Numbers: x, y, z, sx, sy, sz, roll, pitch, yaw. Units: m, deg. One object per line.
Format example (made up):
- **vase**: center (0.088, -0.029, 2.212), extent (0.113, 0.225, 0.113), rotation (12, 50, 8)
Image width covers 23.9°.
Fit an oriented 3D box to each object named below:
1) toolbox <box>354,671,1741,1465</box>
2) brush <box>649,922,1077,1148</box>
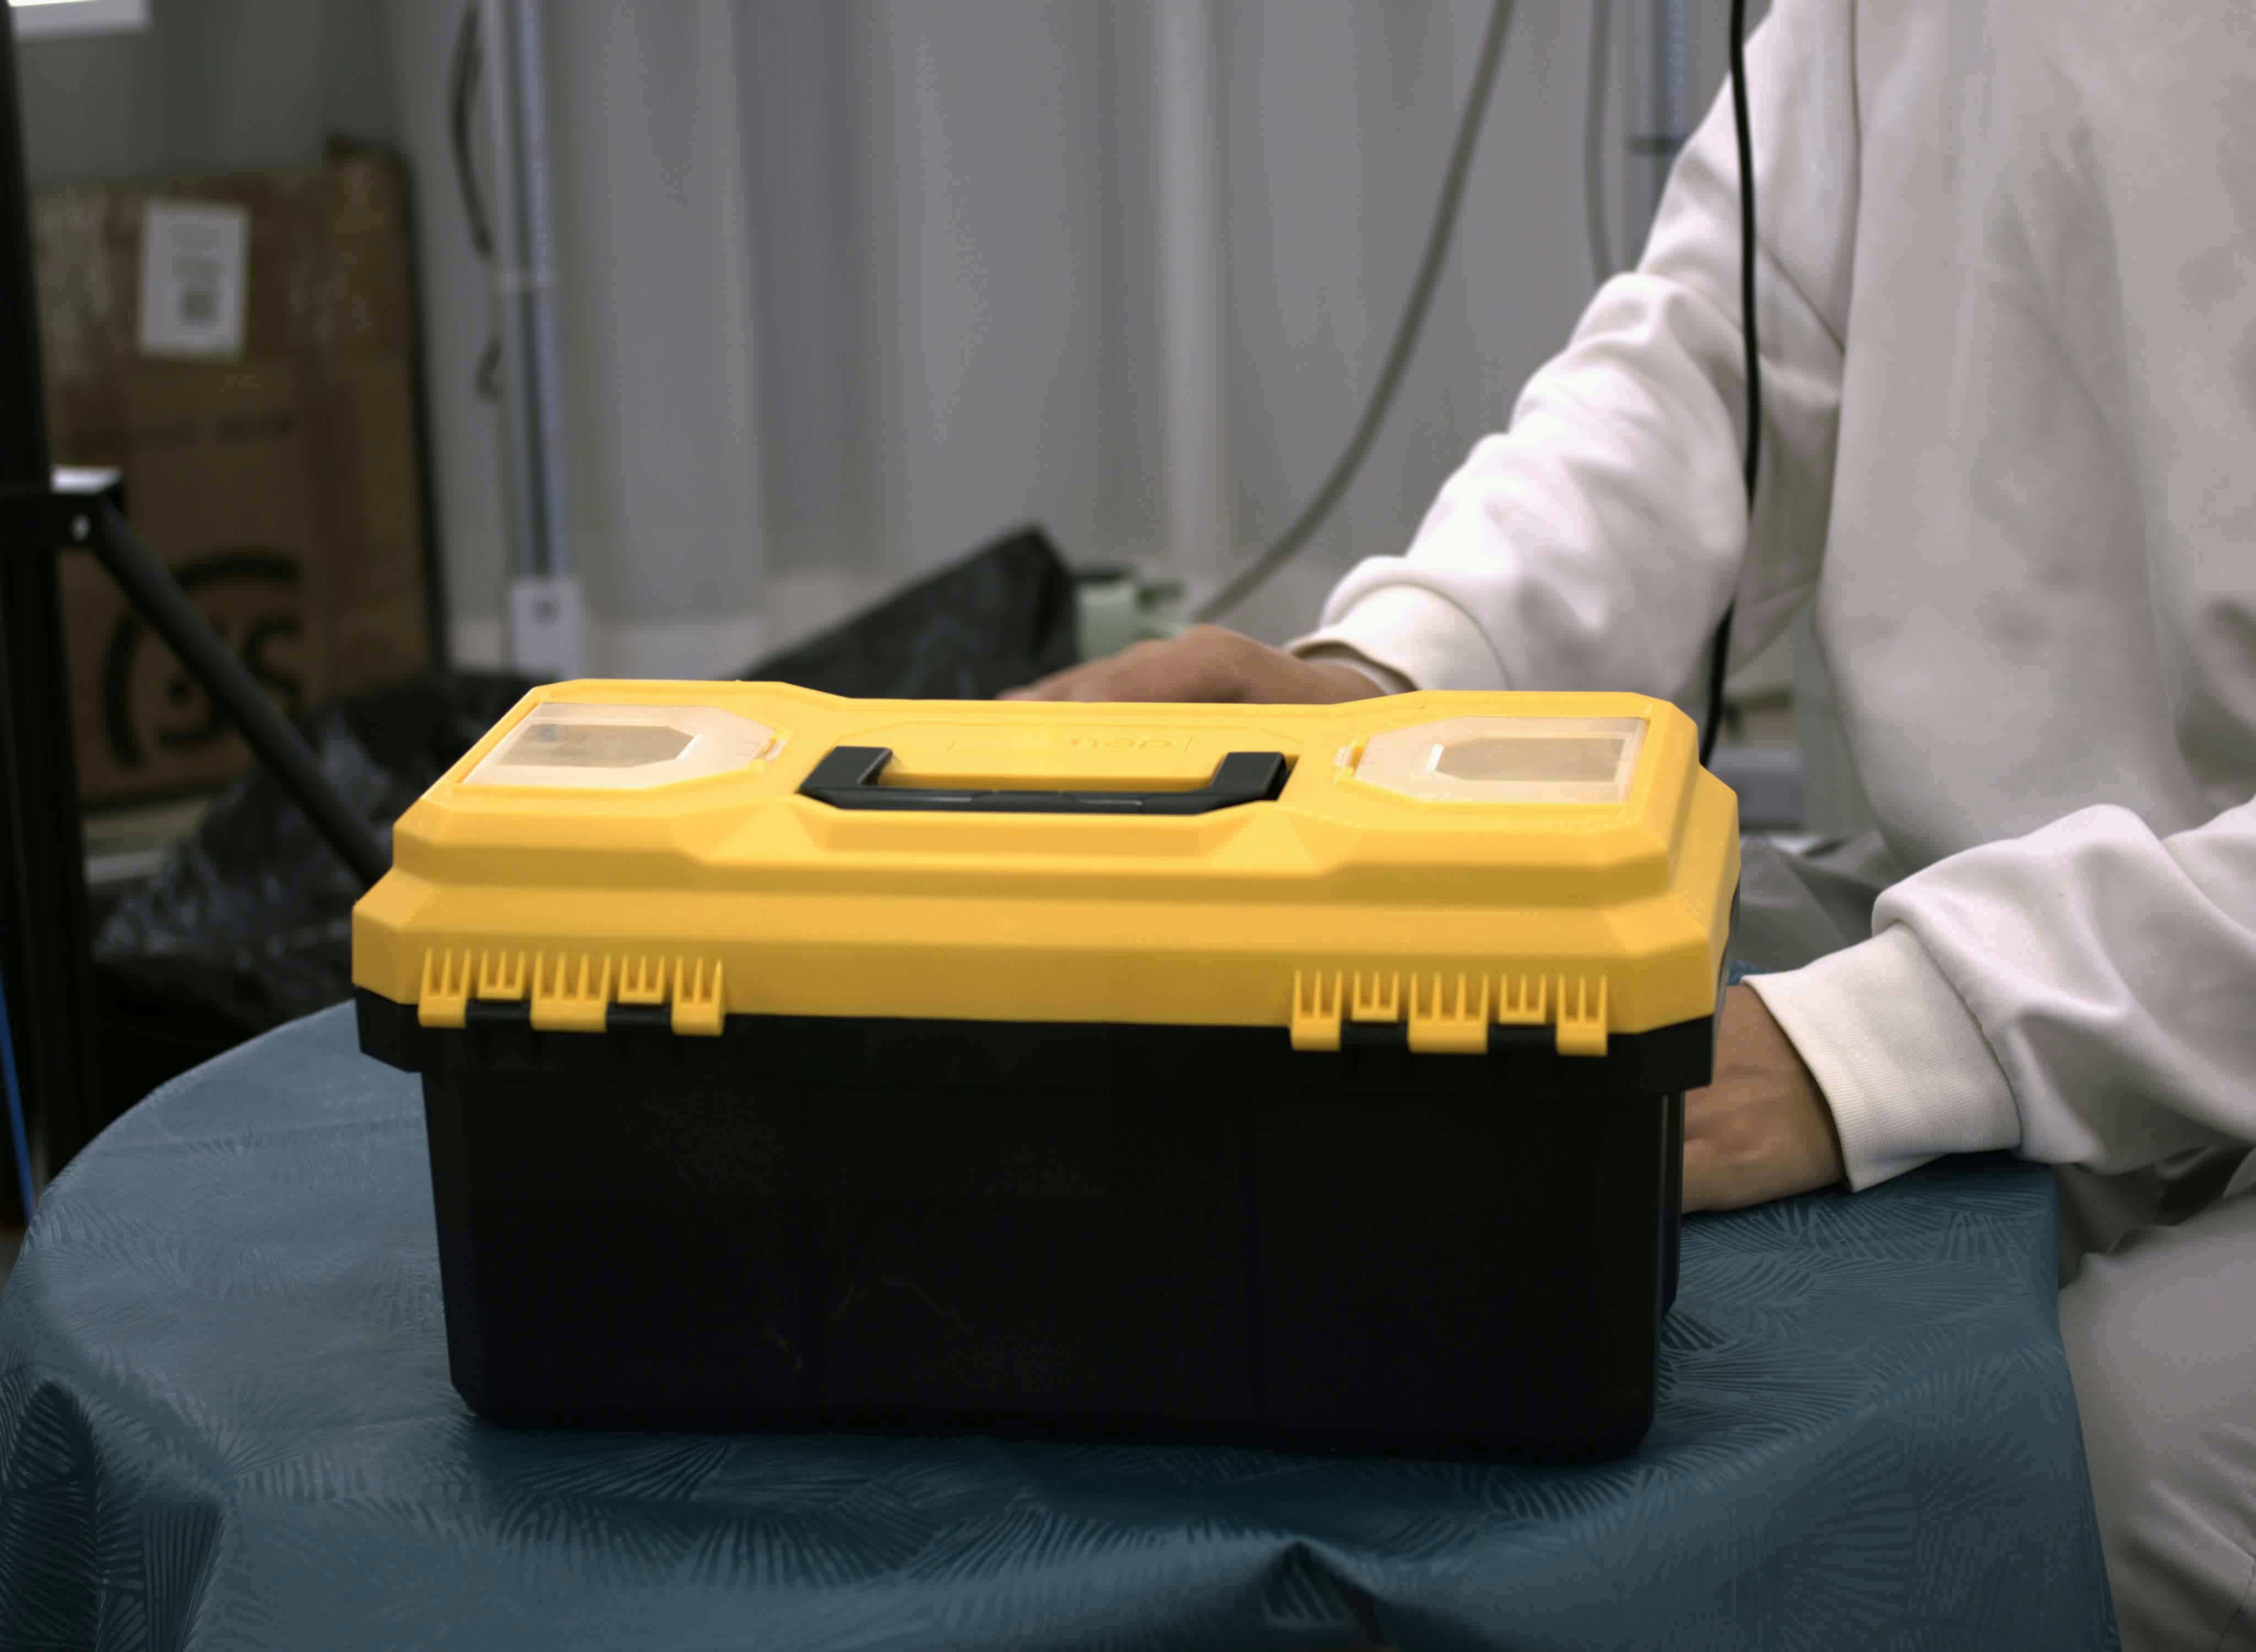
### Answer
- **toolbox**: center (-0.016, 0.061, 1.411), extent (0.353, 0.173, 0.180), rotation (1, 17, 11)
- **brush**: center (-0.075, 0.063, 1.710), extent (0.069, 0.056, 0.262), rotation (26, 8, 16)
